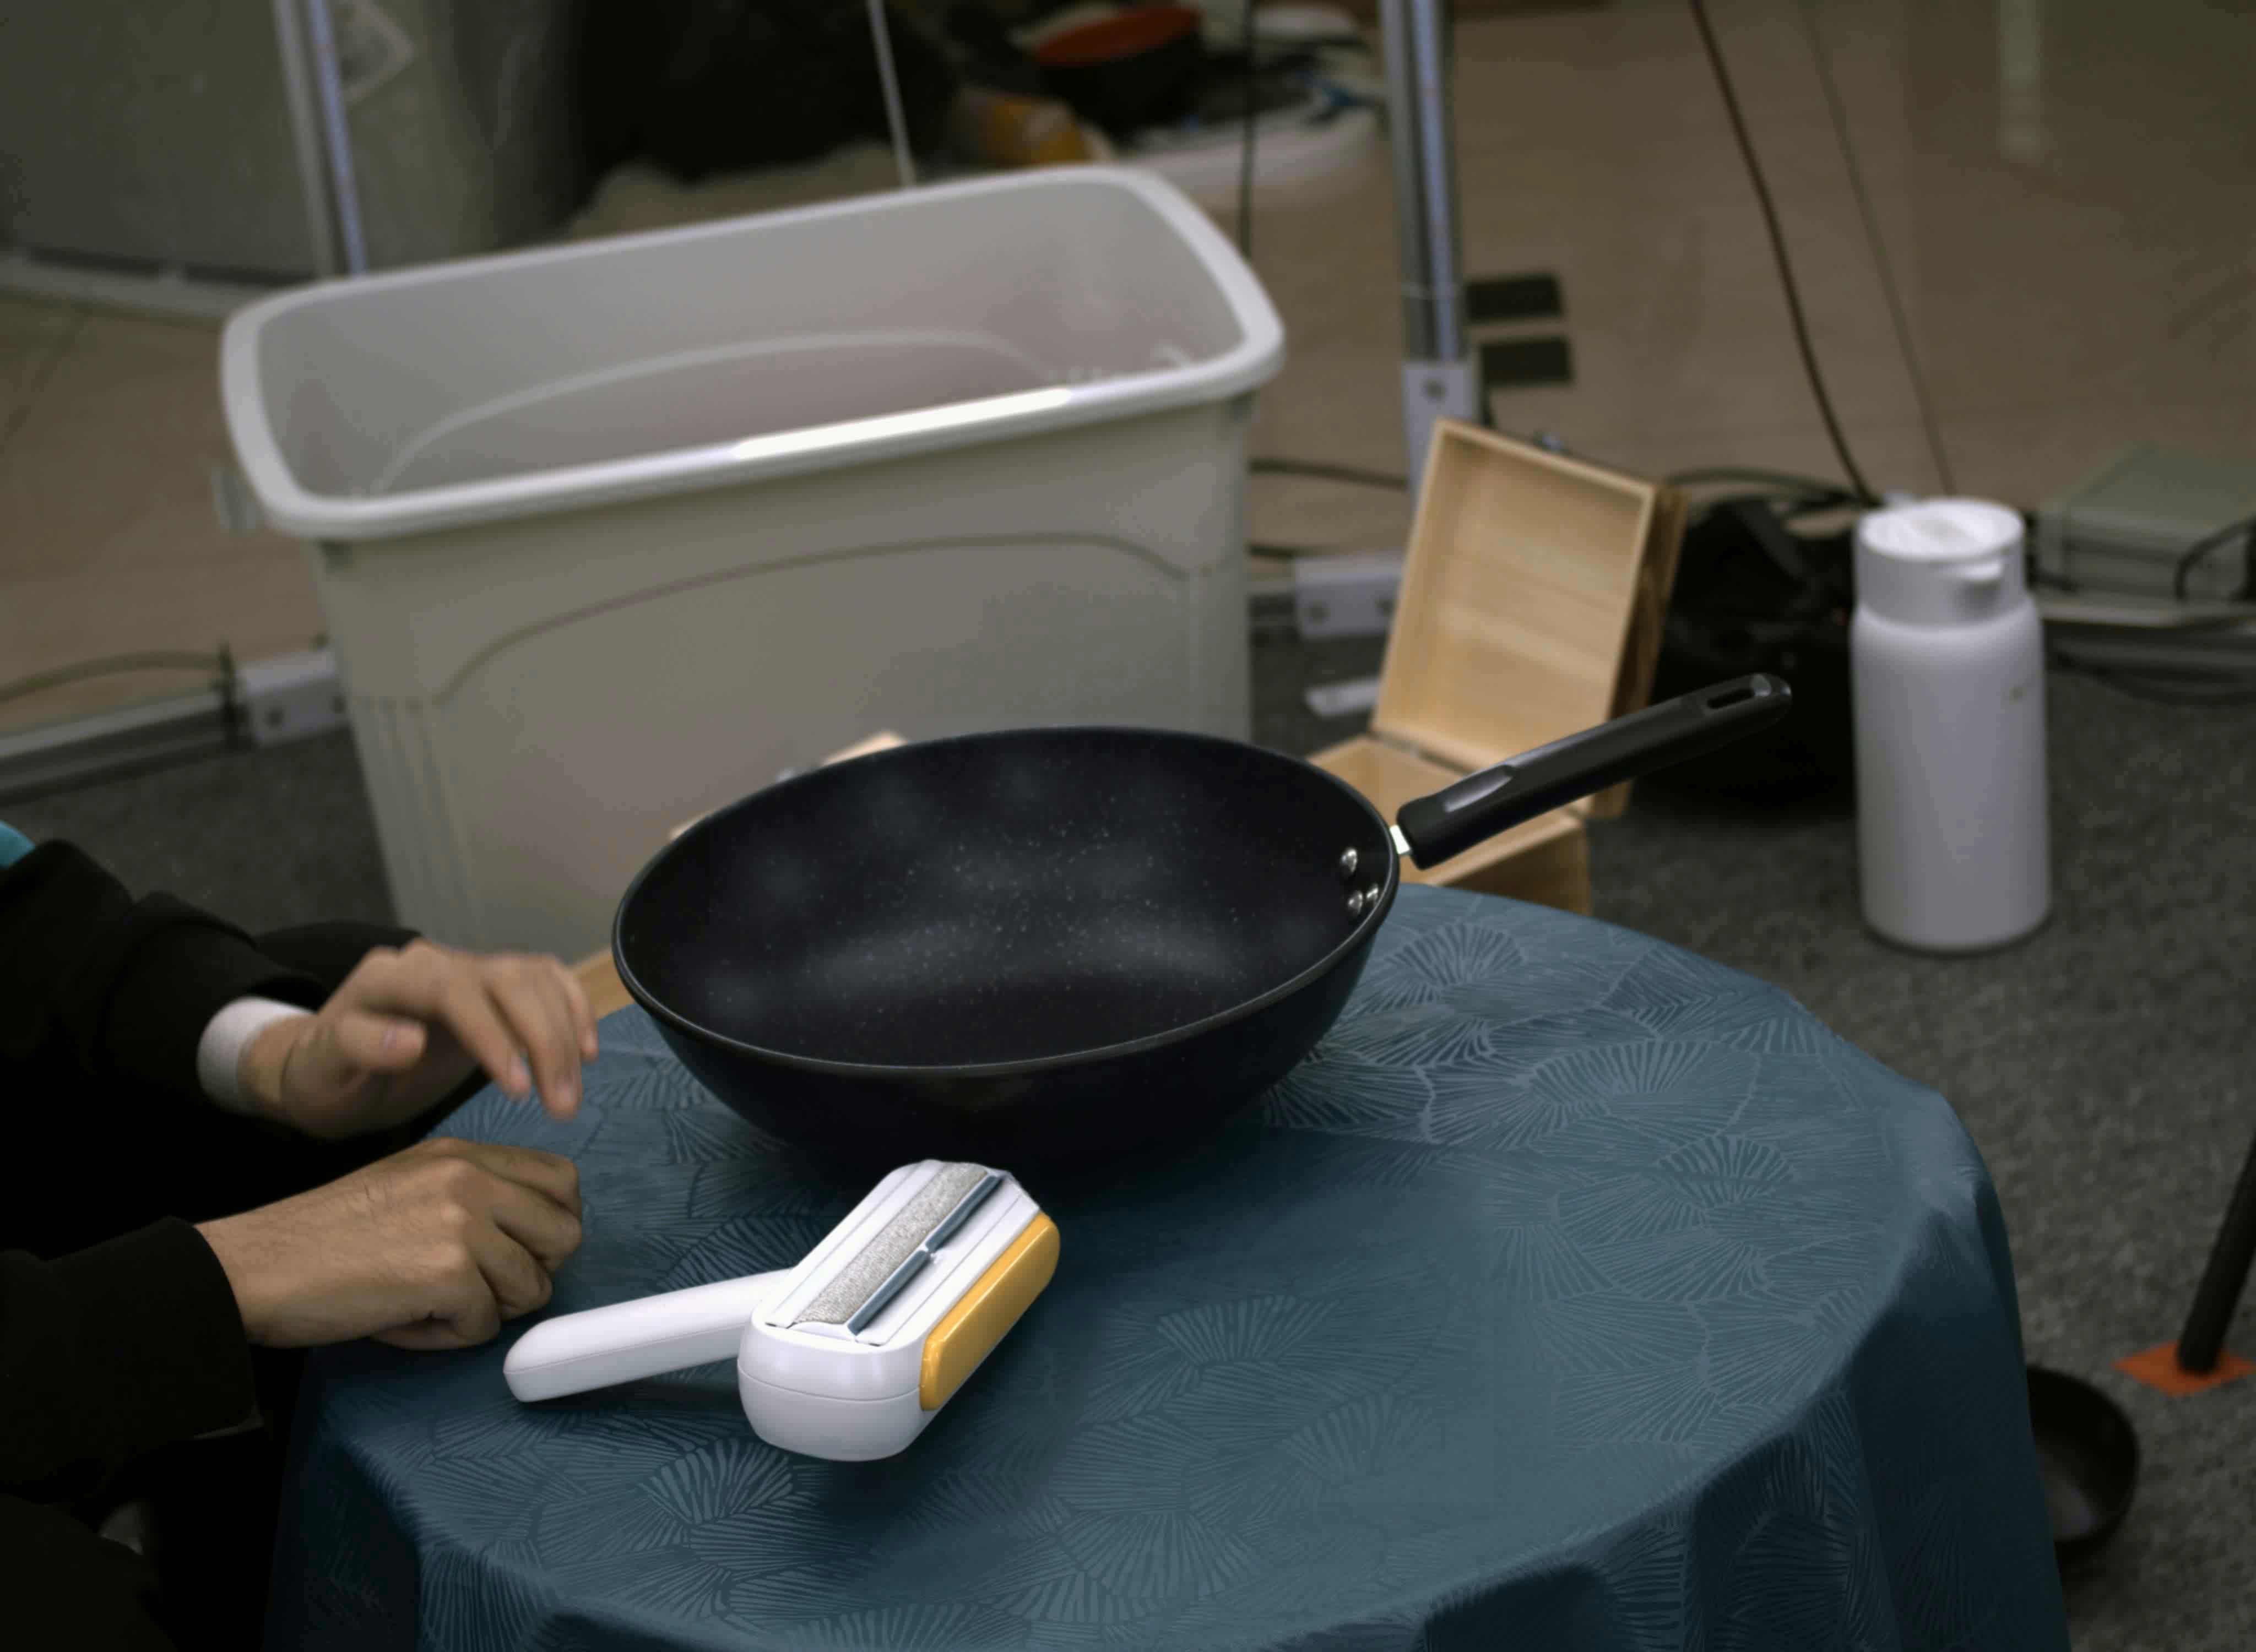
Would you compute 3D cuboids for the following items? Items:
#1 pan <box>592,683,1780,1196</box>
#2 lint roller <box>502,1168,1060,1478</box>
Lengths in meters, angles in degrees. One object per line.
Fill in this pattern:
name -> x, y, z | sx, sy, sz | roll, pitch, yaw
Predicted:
pan -> 0.029, 0.038, 2.223 | 0.476, 0.113, 0.305 | -11, 27, -8
lint roller -> -0.137, 0.177, 2.017 | 0.192, 0.075, 0.190 | 2, 21, 21
